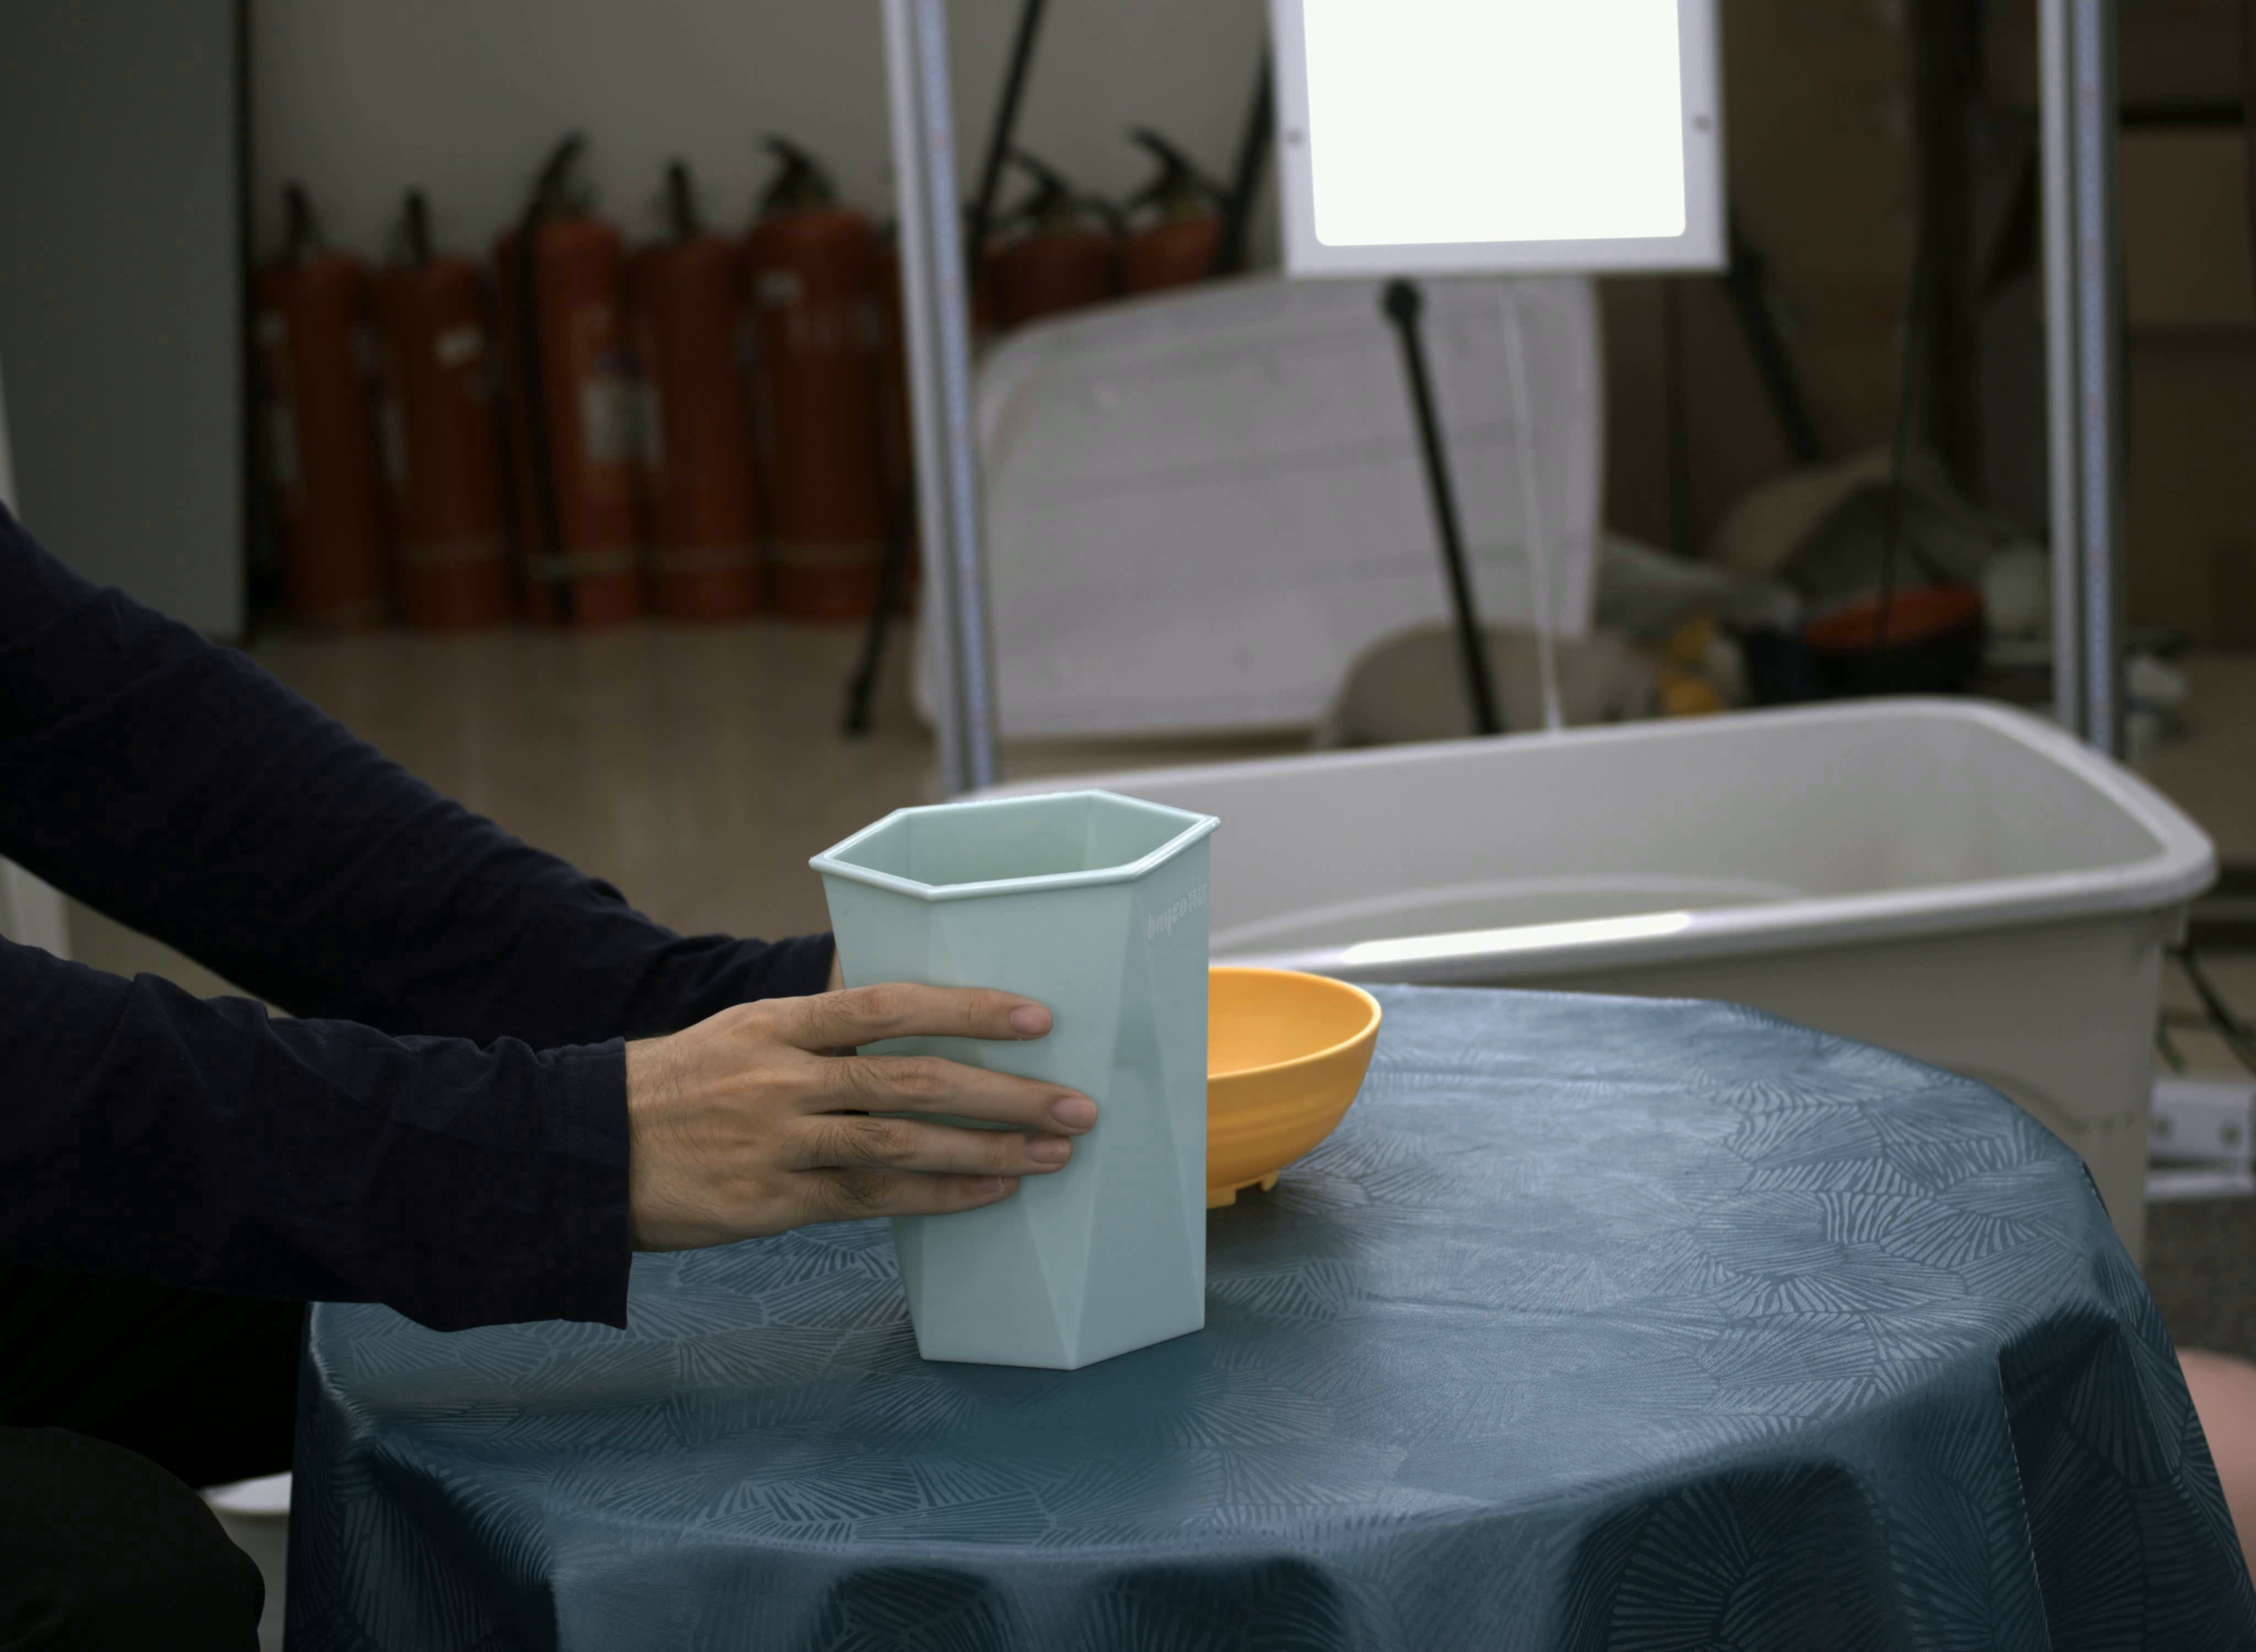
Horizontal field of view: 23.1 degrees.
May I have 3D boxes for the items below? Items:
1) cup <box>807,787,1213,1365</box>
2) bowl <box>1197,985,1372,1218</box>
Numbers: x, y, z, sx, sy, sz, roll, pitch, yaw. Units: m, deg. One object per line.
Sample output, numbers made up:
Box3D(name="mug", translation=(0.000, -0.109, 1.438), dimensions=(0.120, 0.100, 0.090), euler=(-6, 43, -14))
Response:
Box3D(name="cup", translation=(-0.029, 0.080, 1.755), dimensions=(0.117, 0.163, 0.128), euler=(0, 13, 23))
Box3D(name="bowl", translation=(0.015, 0.099, 1.897), dimensions=(0.145, 0.060, 0.145), euler=(-7, 11, 0))
